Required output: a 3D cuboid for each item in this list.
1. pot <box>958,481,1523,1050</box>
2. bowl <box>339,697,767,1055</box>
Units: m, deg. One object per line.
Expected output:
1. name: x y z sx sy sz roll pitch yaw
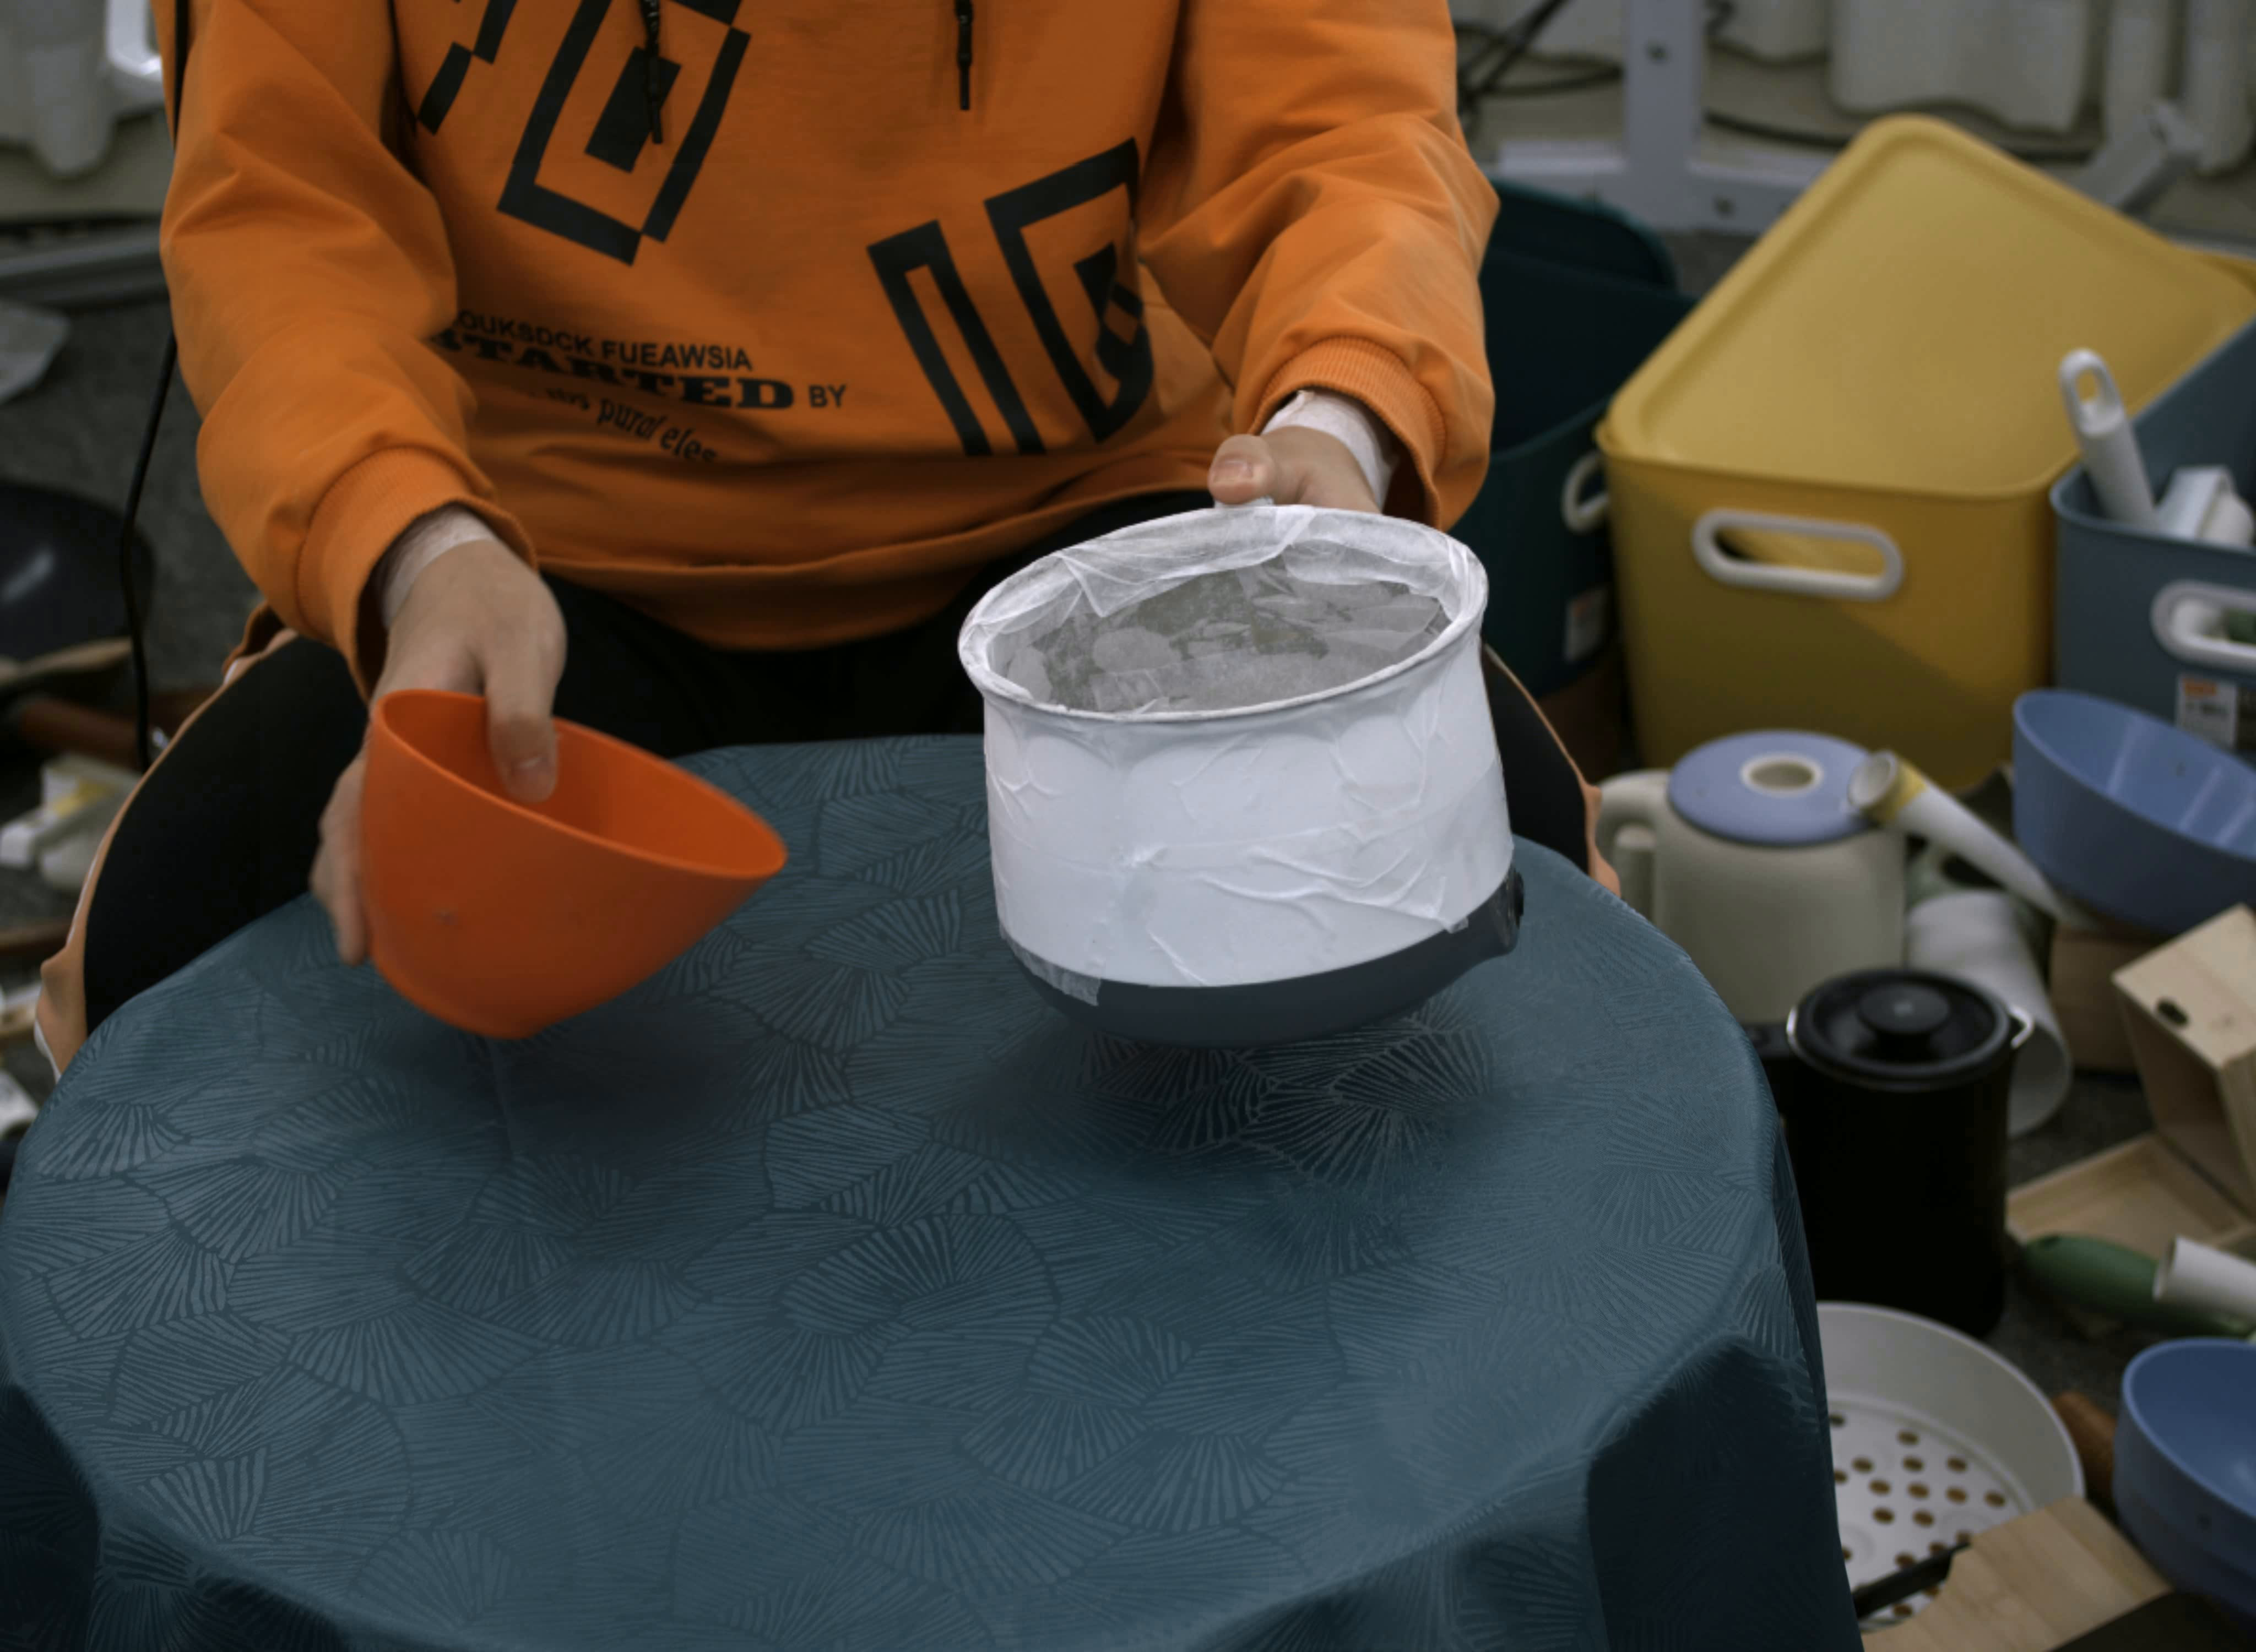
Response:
1. pot: 0.040 -0.027 1.910 0.177 0.135 0.237 -5 24 5
2. bowl: -0.209 0.023 1.905 0.147 0.104 0.149 28 16 -8
